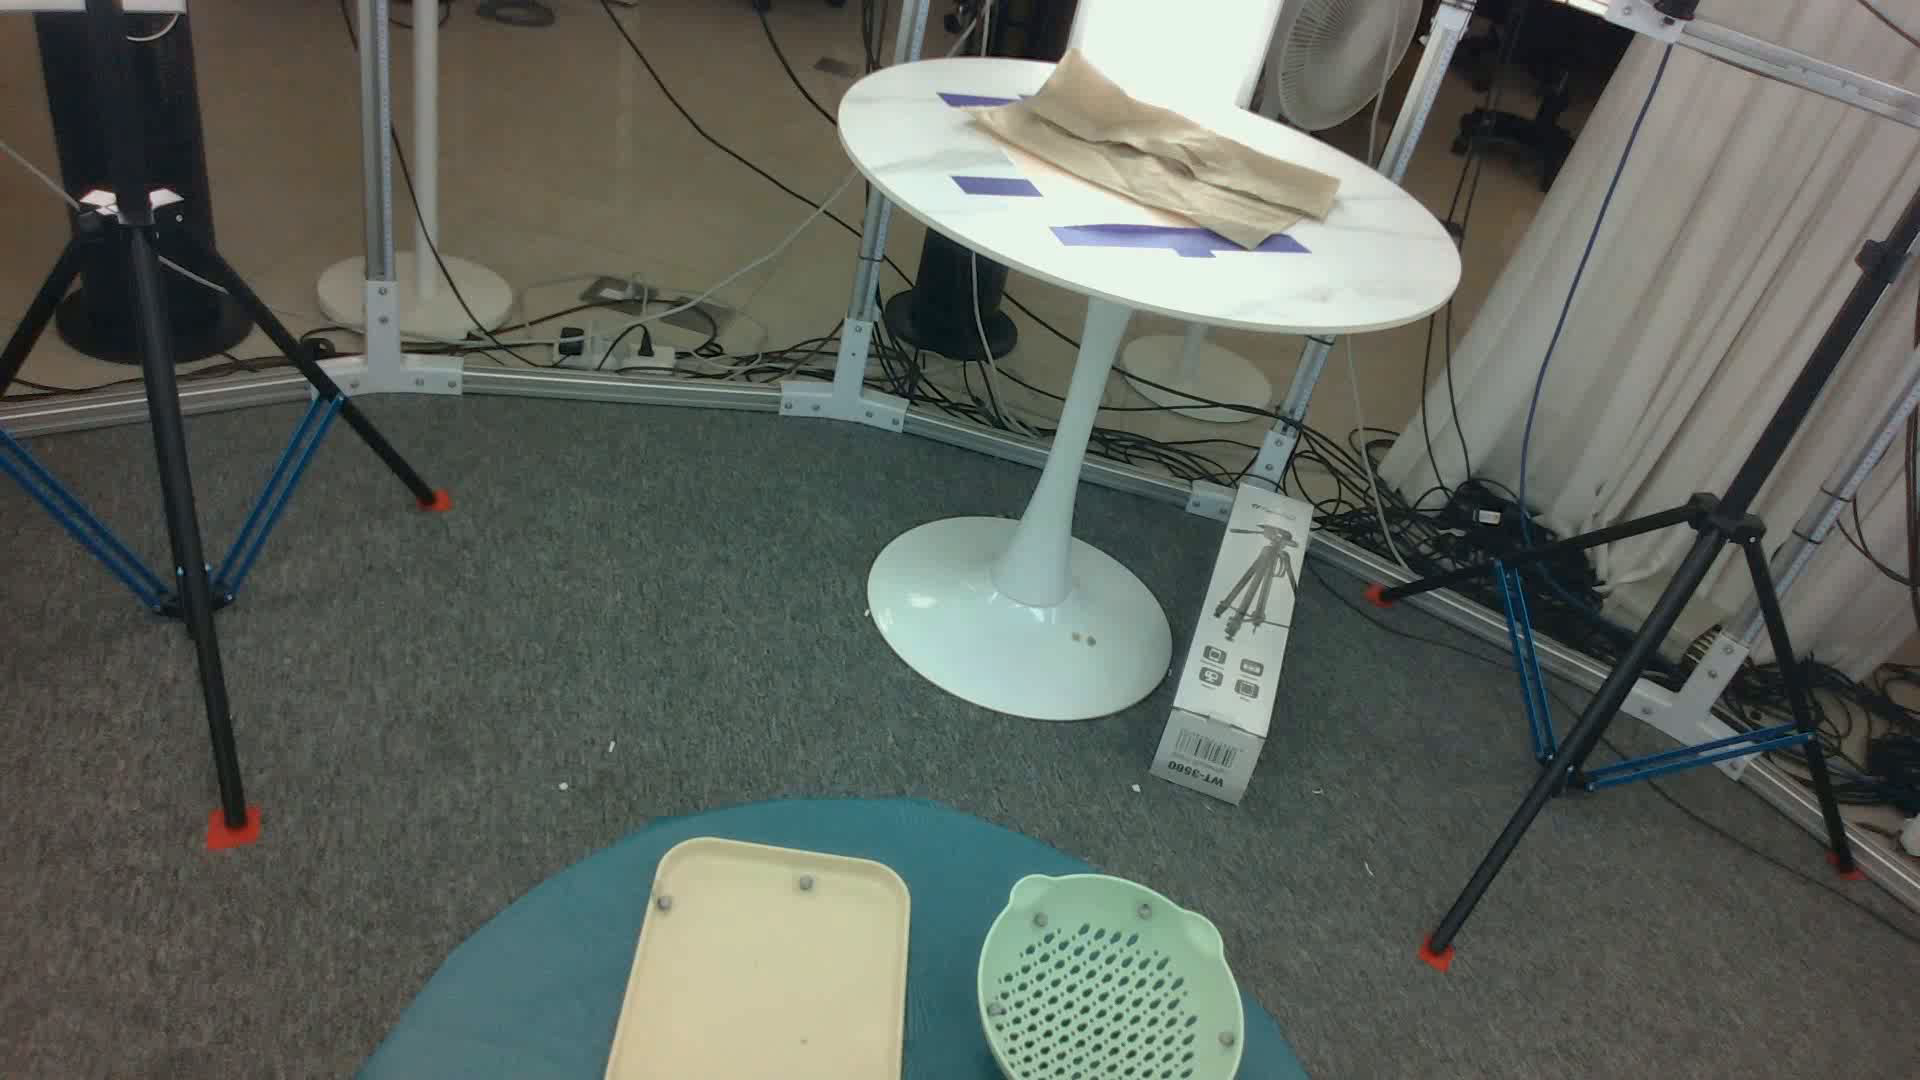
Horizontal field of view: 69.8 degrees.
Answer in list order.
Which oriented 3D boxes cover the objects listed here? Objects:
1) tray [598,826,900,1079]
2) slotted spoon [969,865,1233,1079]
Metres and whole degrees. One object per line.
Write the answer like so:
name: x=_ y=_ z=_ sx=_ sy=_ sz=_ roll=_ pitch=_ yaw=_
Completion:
tray: x=-0.124 y=0.281 z=0.850 sx=0.171 sy=0.017 sz=0.241 roll=10 pitch=36 yaw=-7
slotted spoon: x=0.071 y=0.350 z=0.789 sx=0.169 sy=0.075 sz=0.360 roll=14 pitch=36 yaw=-1
